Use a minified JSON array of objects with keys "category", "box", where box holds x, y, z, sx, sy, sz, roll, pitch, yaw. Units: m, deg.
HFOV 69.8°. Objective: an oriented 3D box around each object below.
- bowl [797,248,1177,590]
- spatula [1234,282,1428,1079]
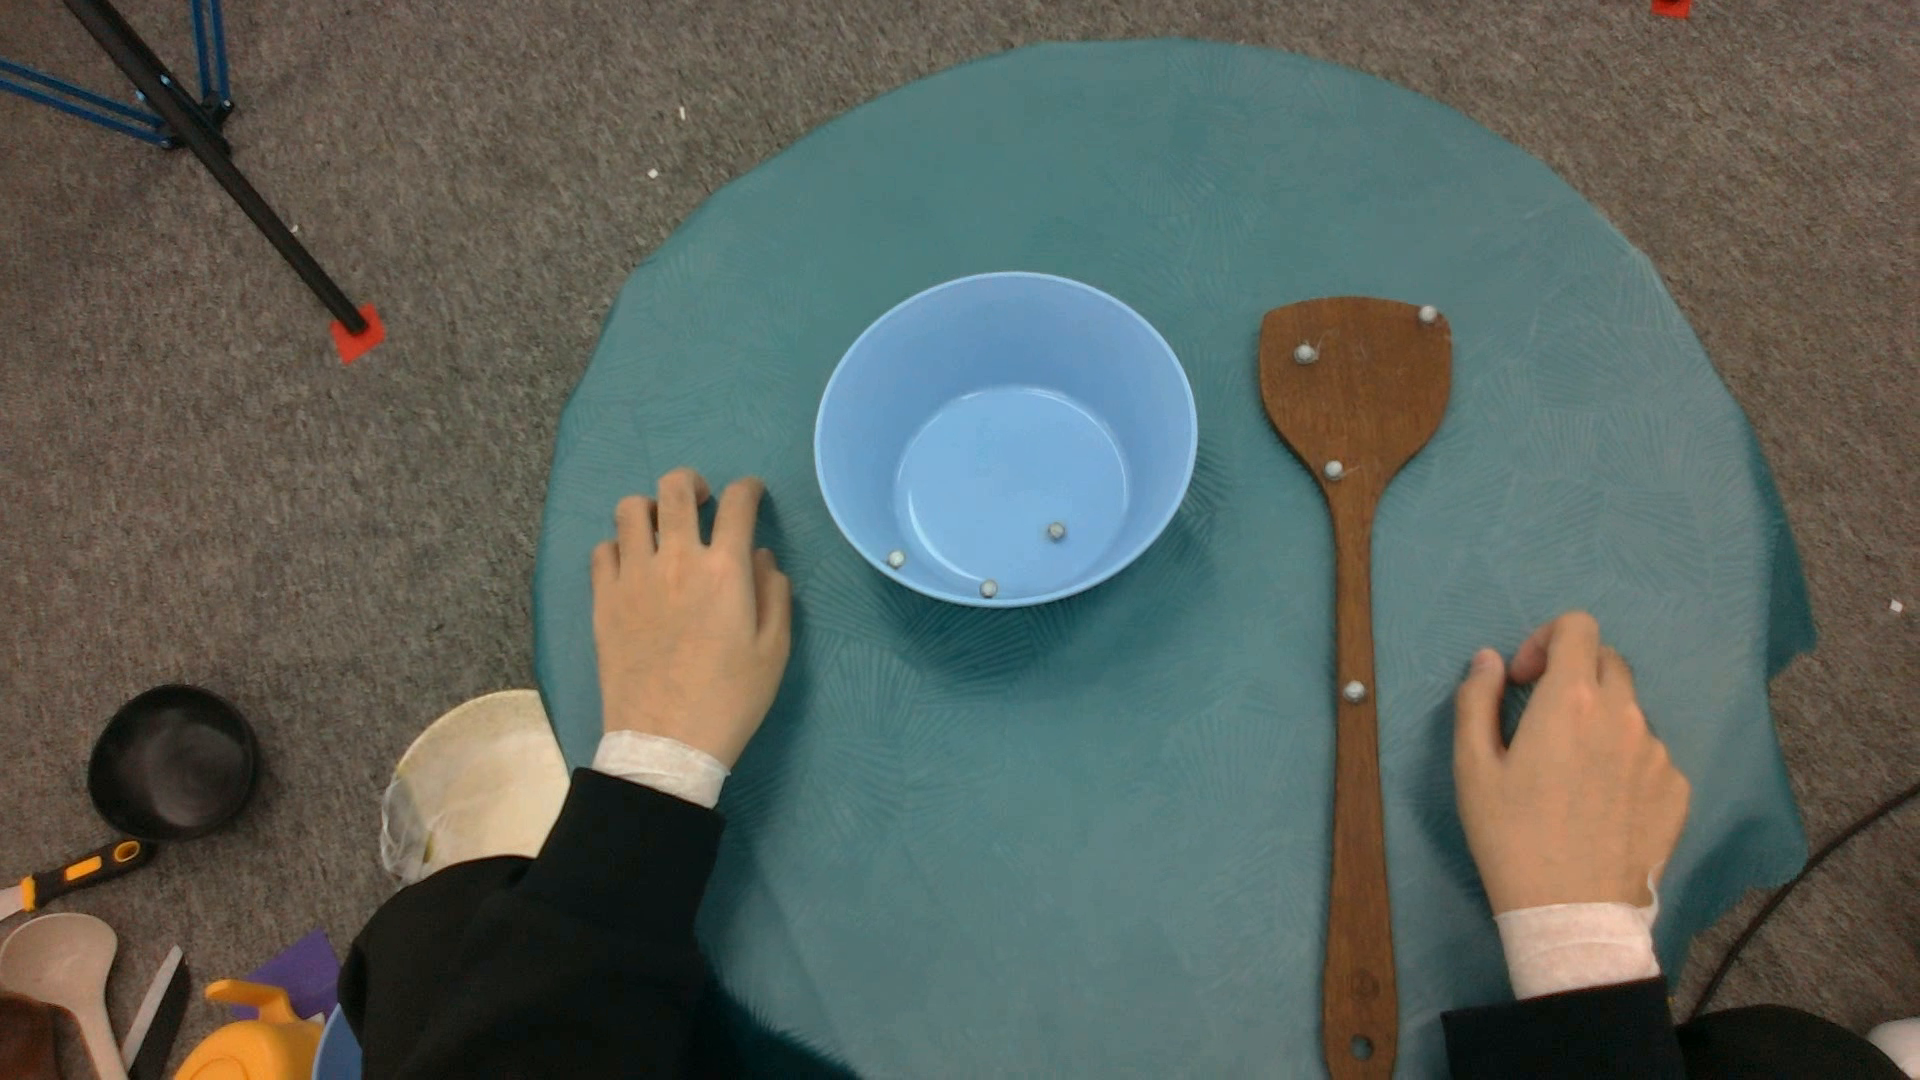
[{"category":"bowl","box":[0.014,-0.048,0.660,0.176,0.070,0.176,-2,67,5]},{"category":"spatula","box":[0.173,0.044,0.636,0.096,0.016,0.387,3,66,7]}]
